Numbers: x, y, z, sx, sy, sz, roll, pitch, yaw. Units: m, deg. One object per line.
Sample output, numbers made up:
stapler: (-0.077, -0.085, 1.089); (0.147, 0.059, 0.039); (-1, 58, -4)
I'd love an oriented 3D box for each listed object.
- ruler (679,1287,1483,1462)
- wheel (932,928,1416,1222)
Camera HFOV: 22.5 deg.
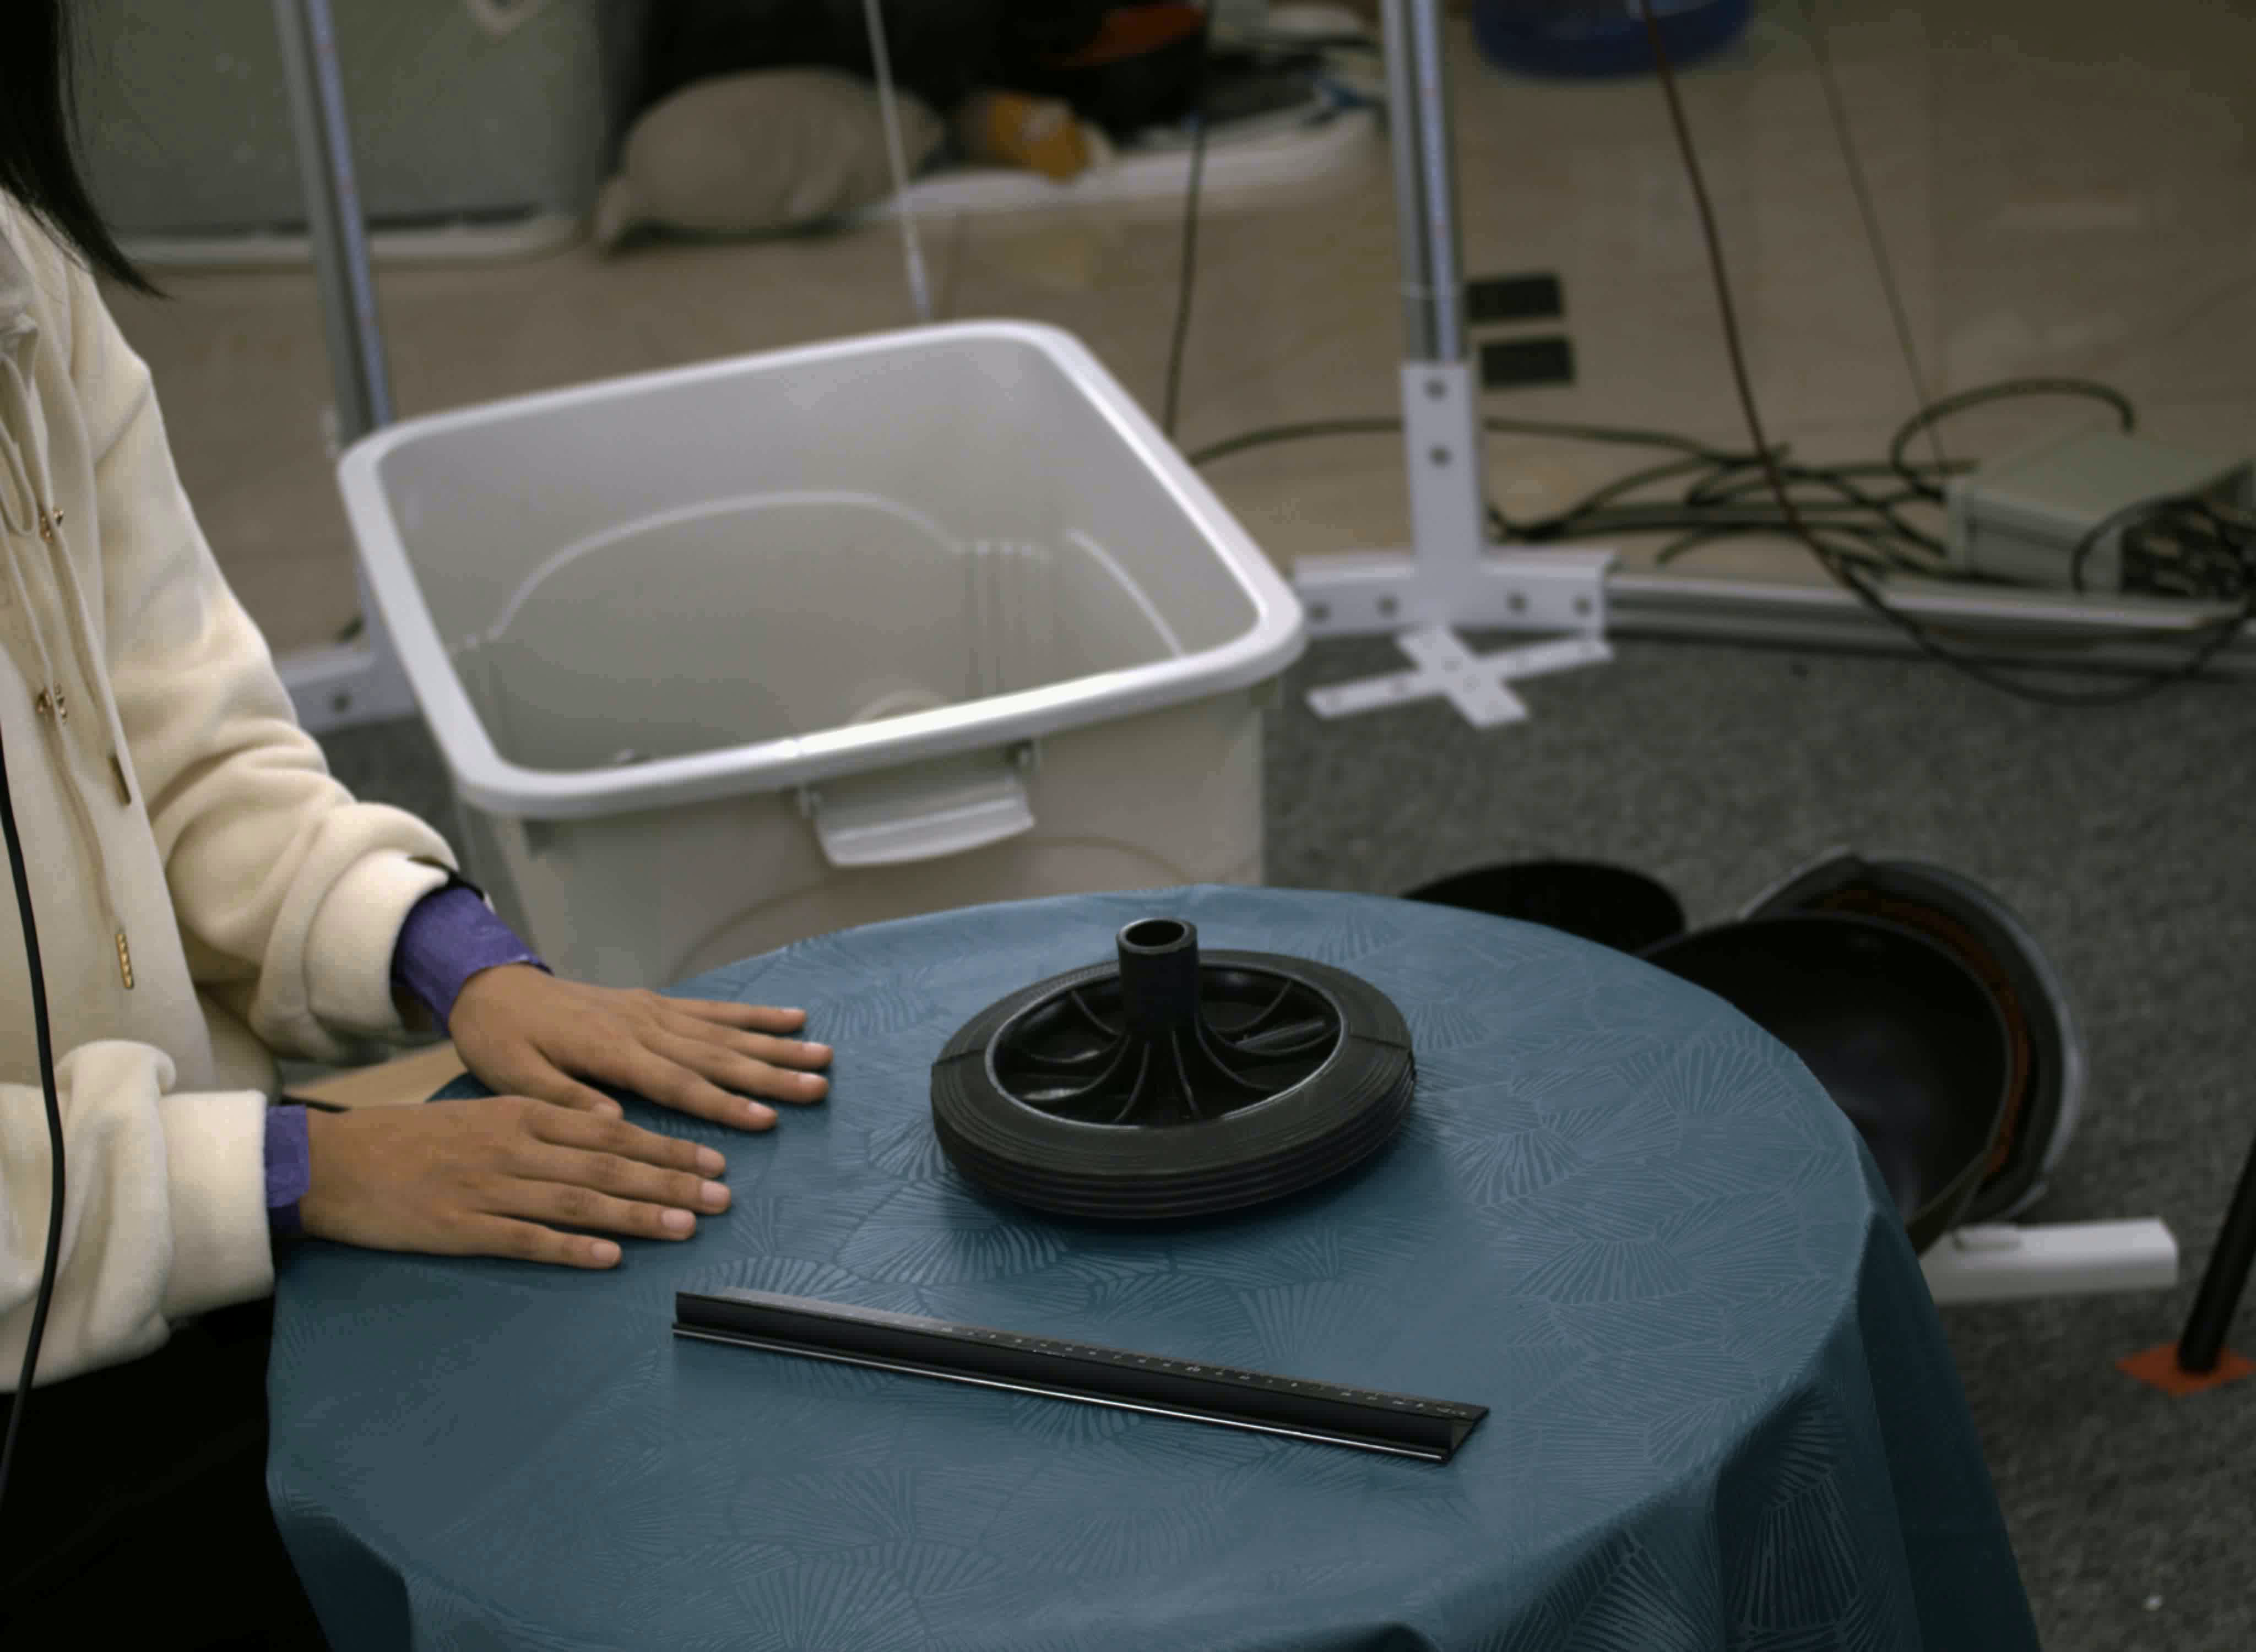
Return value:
ruler: (-0.021, 0.189, 2.028); (0.311, 0.017, 0.039); (7, 24, 27)
wheel: (0.016, 0.081, 2.177); (0.186, 0.080, 0.188); (18, 34, 41)
